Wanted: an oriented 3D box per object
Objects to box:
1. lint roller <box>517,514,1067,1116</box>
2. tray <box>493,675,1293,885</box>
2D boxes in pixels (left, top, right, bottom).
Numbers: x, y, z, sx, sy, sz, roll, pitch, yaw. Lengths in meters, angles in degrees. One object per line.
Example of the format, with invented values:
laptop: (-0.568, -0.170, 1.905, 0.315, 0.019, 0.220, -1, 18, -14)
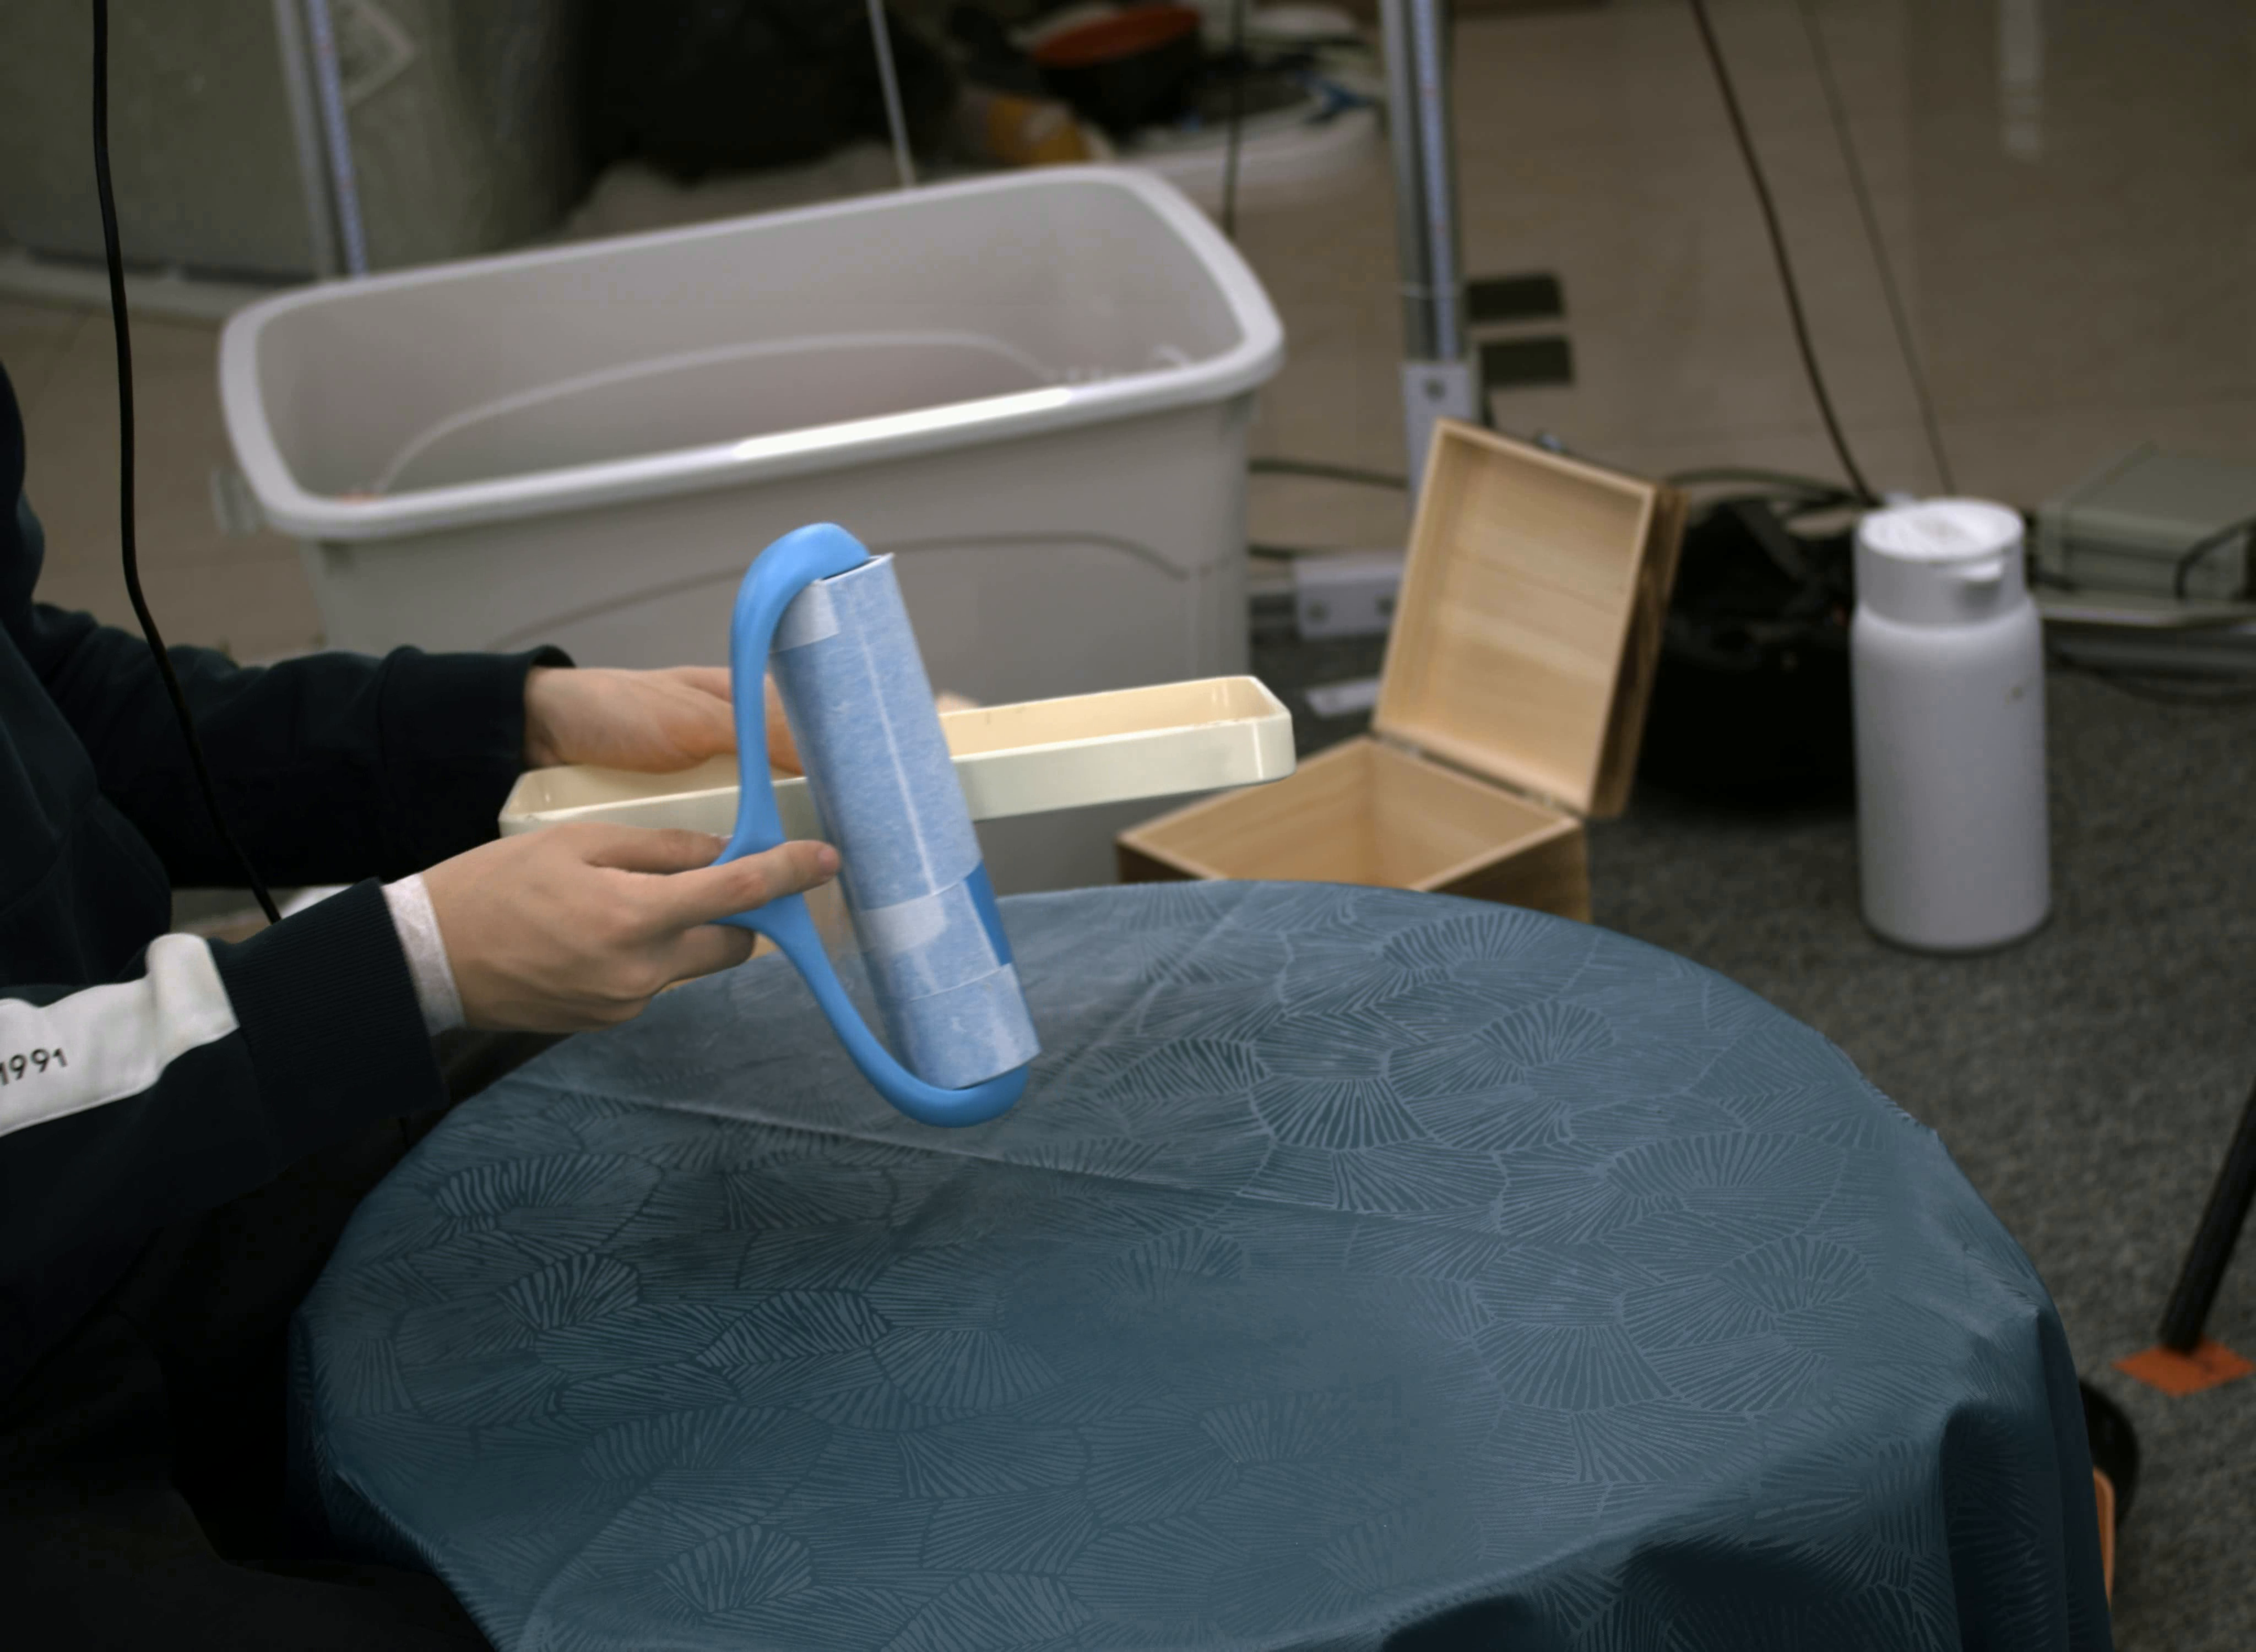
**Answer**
lint roller: (-0.132, 0.018, 2.056, 0.179, 0.231, 0.067, -23, 12, -9)
tray: (-0.091, -0.019, 2.185, 0.300, 0.027, 0.190, -8, 6, -2)
